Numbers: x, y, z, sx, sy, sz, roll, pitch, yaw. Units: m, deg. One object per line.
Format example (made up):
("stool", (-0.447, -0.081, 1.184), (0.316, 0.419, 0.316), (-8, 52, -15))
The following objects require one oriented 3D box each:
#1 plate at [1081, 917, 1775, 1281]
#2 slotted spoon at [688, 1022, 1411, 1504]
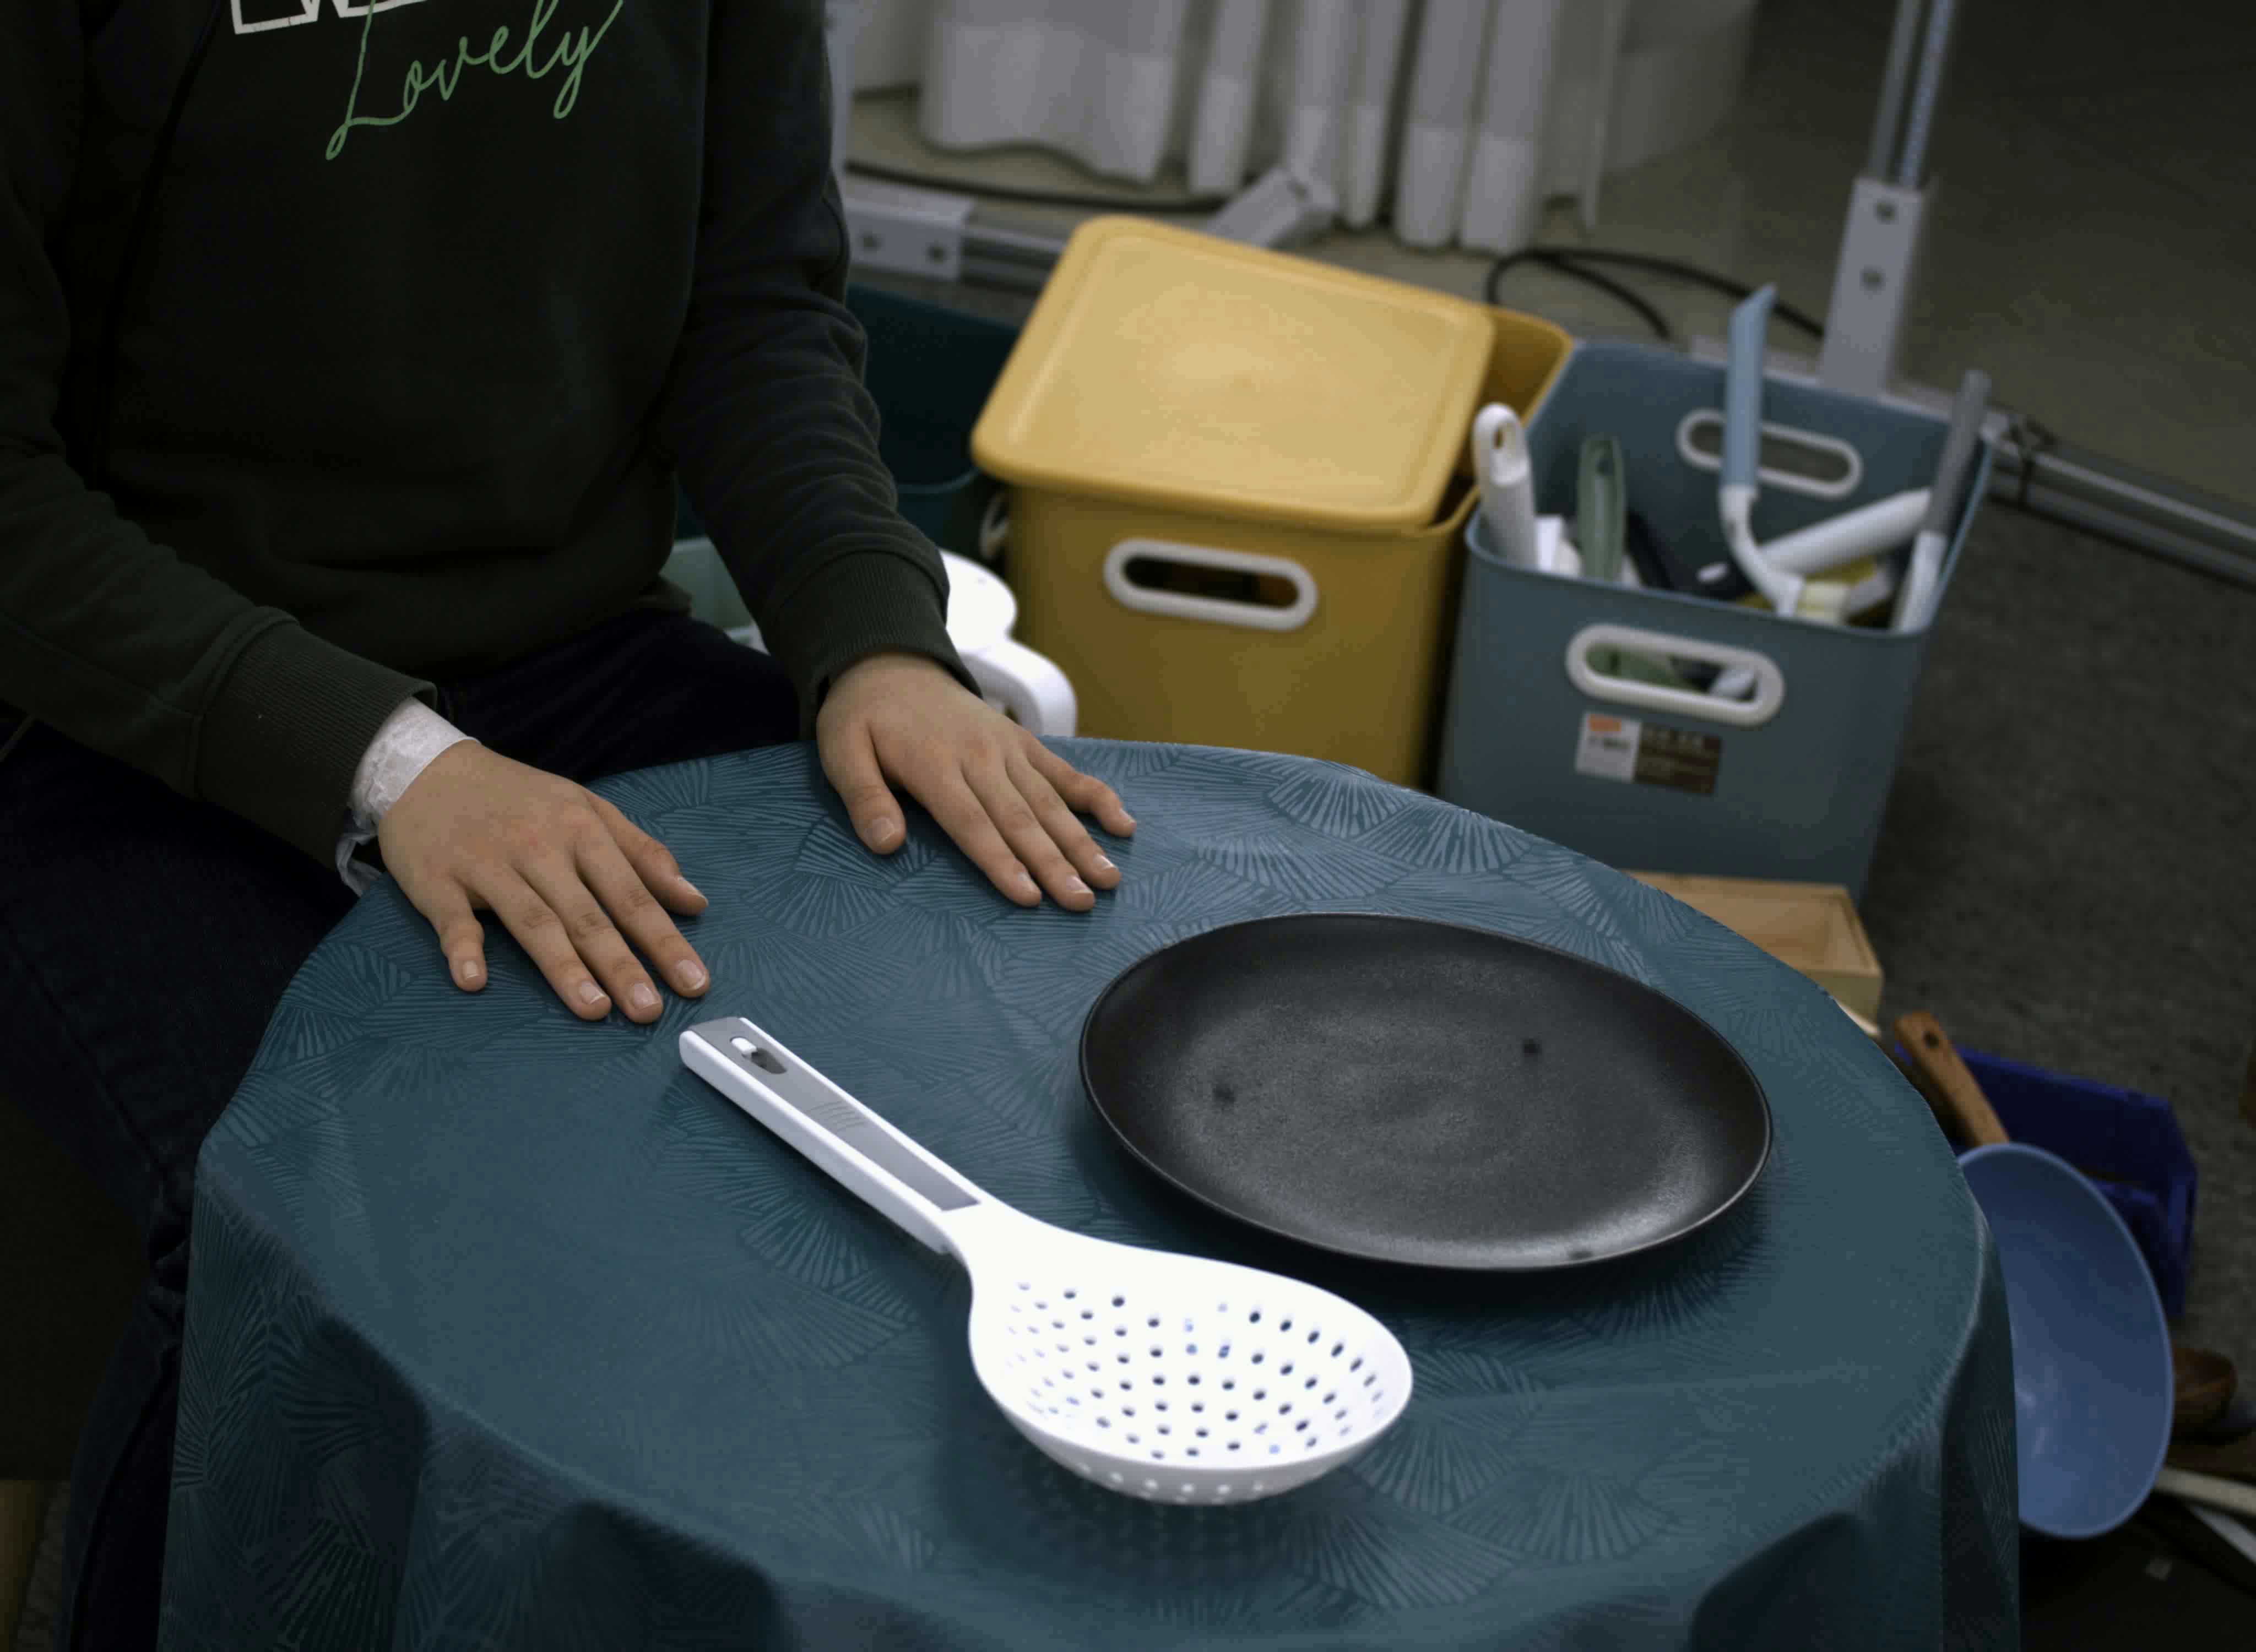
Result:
("plate", (0.103, 0.098, 1.849), (0.243, 0.023, 0.246), (5, 27, -3))
("slotted spoon", (-0.044, 0.135, 1.718), (0.135, 0.045, 0.353), (-10, 30, -34))
